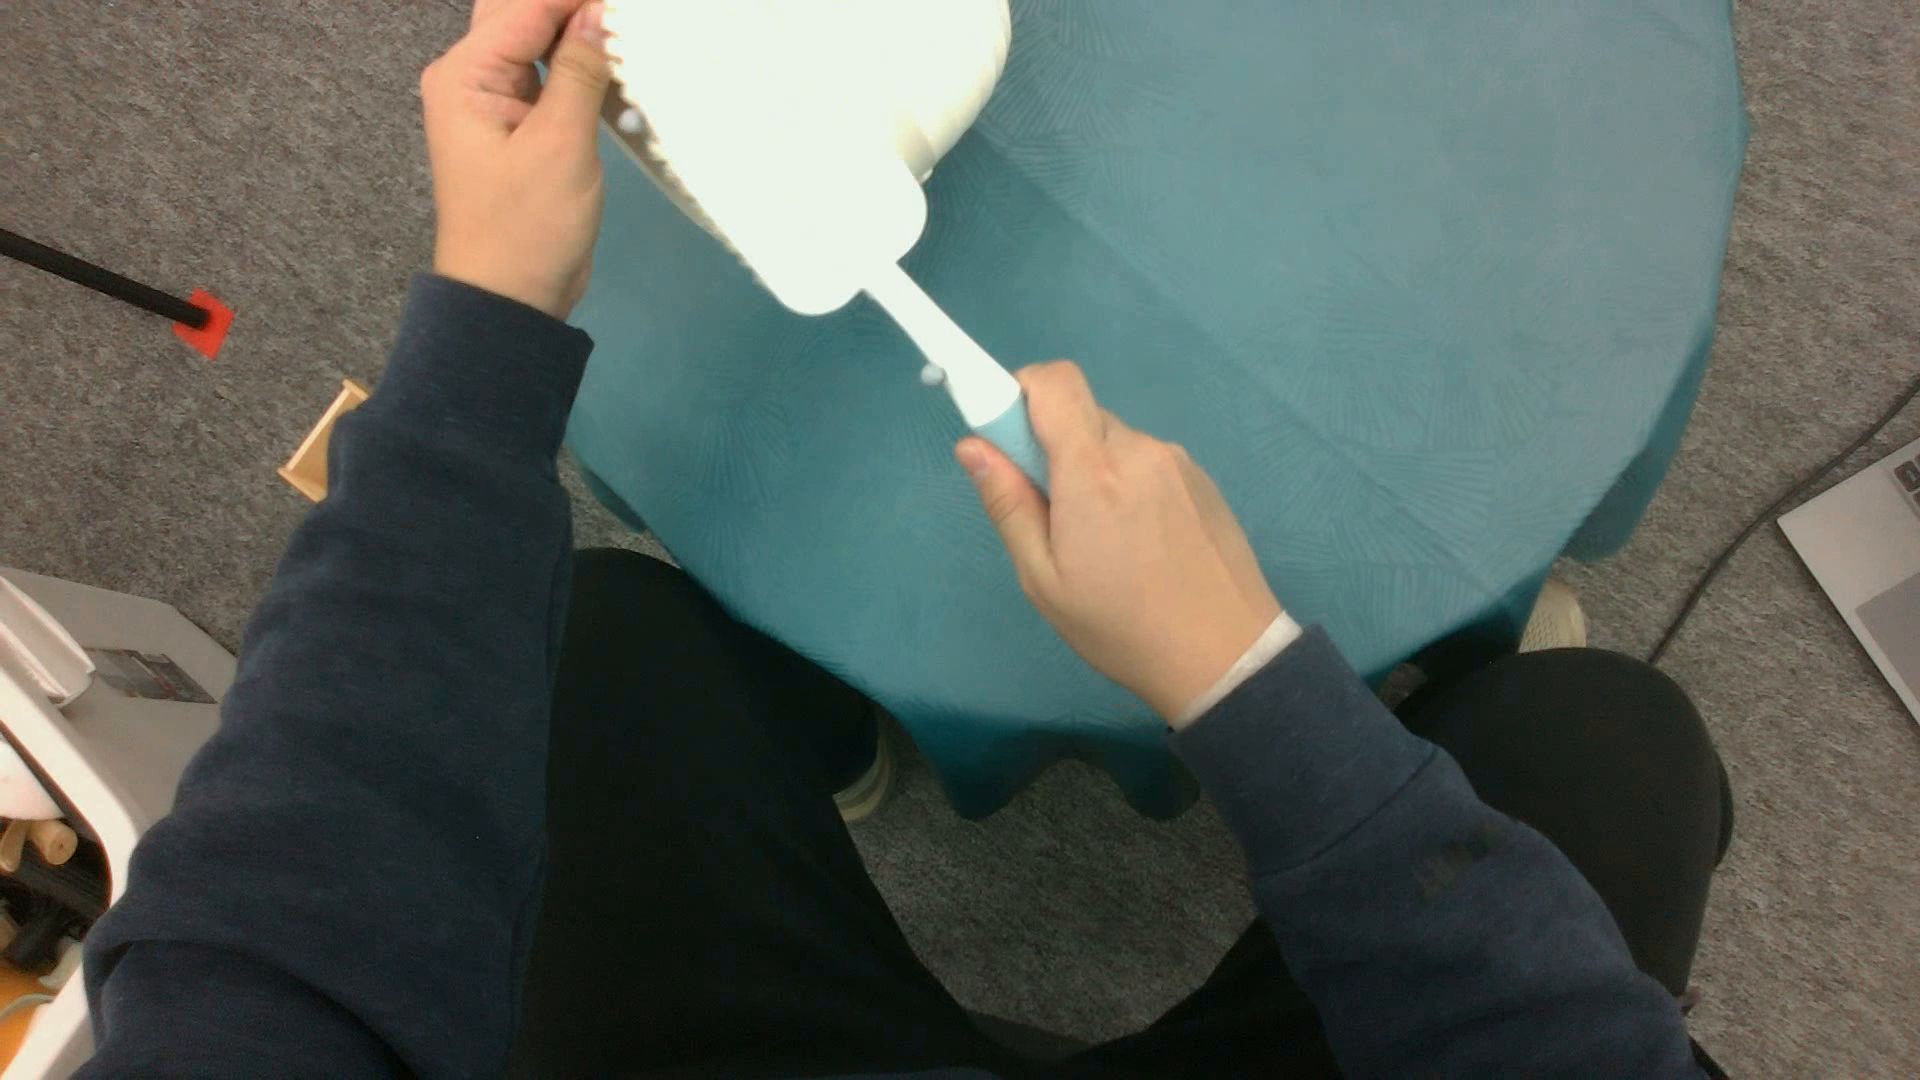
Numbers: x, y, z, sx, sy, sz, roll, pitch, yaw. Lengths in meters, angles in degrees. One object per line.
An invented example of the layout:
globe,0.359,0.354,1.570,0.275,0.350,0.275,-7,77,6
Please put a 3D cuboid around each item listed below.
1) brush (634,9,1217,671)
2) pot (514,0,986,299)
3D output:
brush,-0.011,-0.069,0.550,0.083,0.085,0.325,-29,111,34
pot,-0.083,-0.219,0.623,0.239,0.142,0.191,-15,44,38
